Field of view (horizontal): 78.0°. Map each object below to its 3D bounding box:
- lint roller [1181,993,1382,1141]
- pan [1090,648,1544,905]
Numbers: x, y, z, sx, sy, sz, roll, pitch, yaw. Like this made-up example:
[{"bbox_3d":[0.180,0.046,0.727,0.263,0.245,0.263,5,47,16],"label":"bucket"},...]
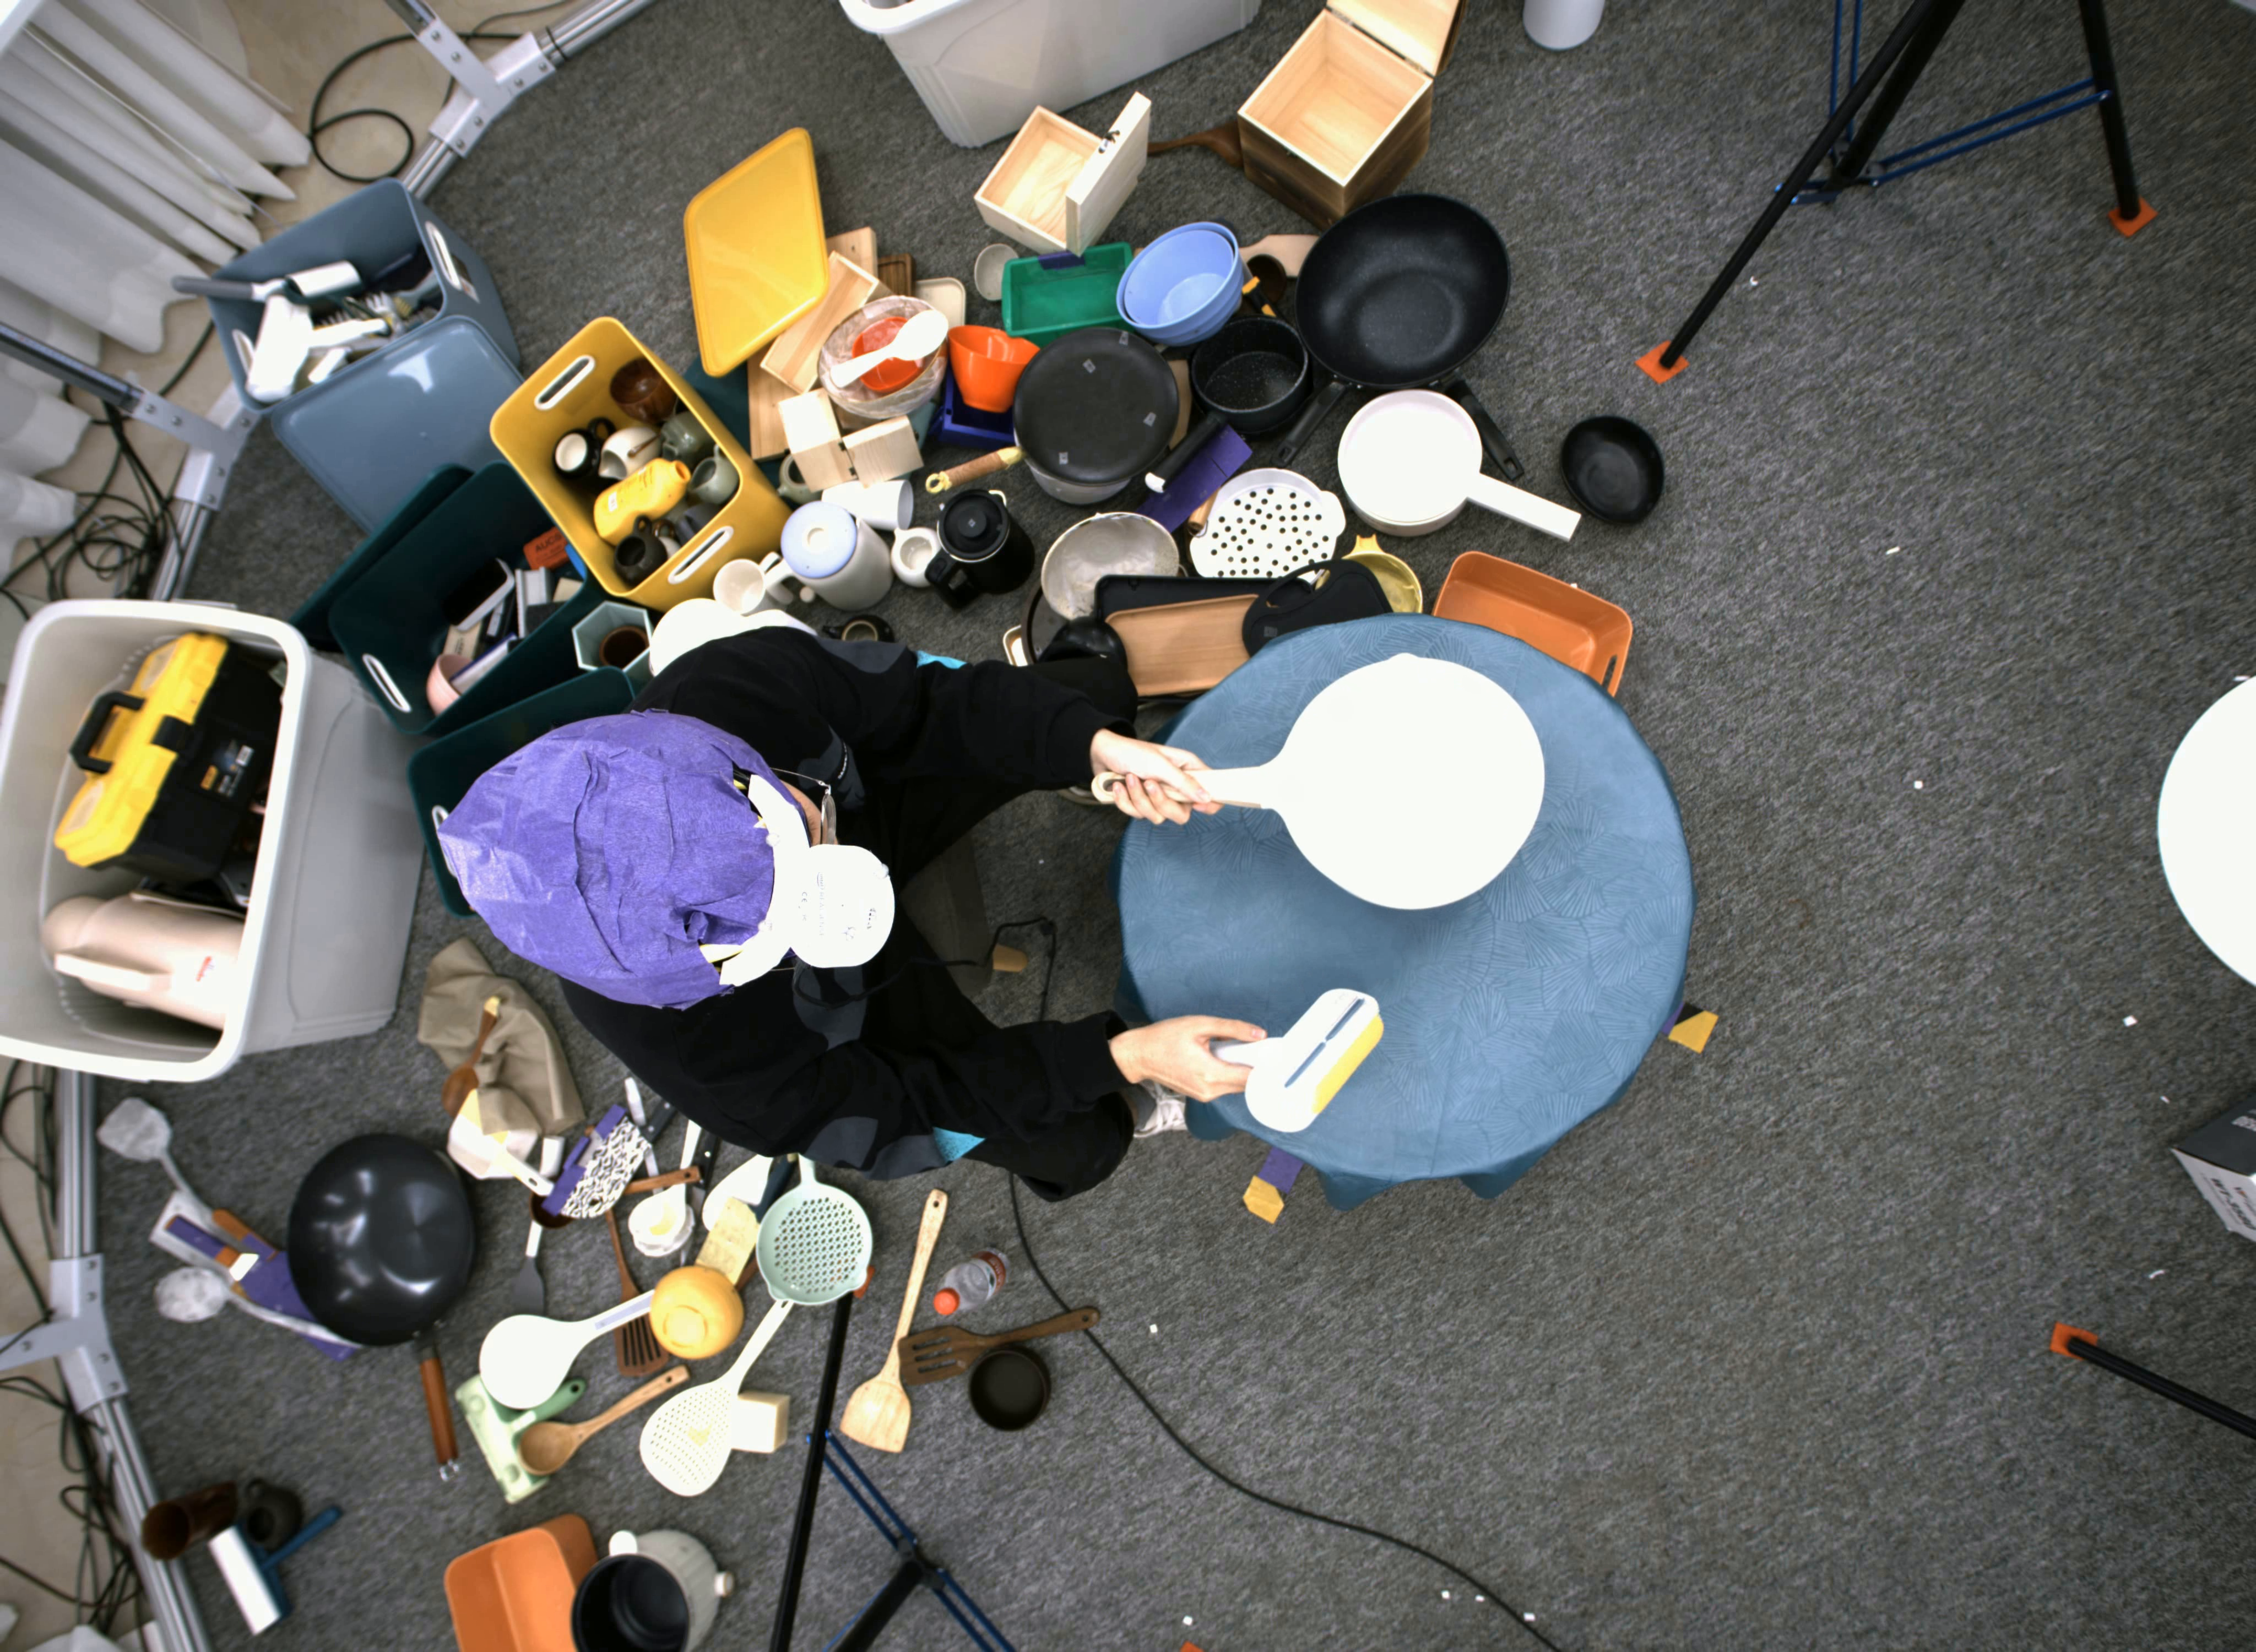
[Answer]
[{"bbox_3d":[0.130,0.222,1.350,0.193,0.188,0.075,9,126,38],"label":"lint roller"},{"bbox_3d":[0.185,-0.037,1.364,0.437,0.103,0.259,-4,74,14],"label":"pan"}]
